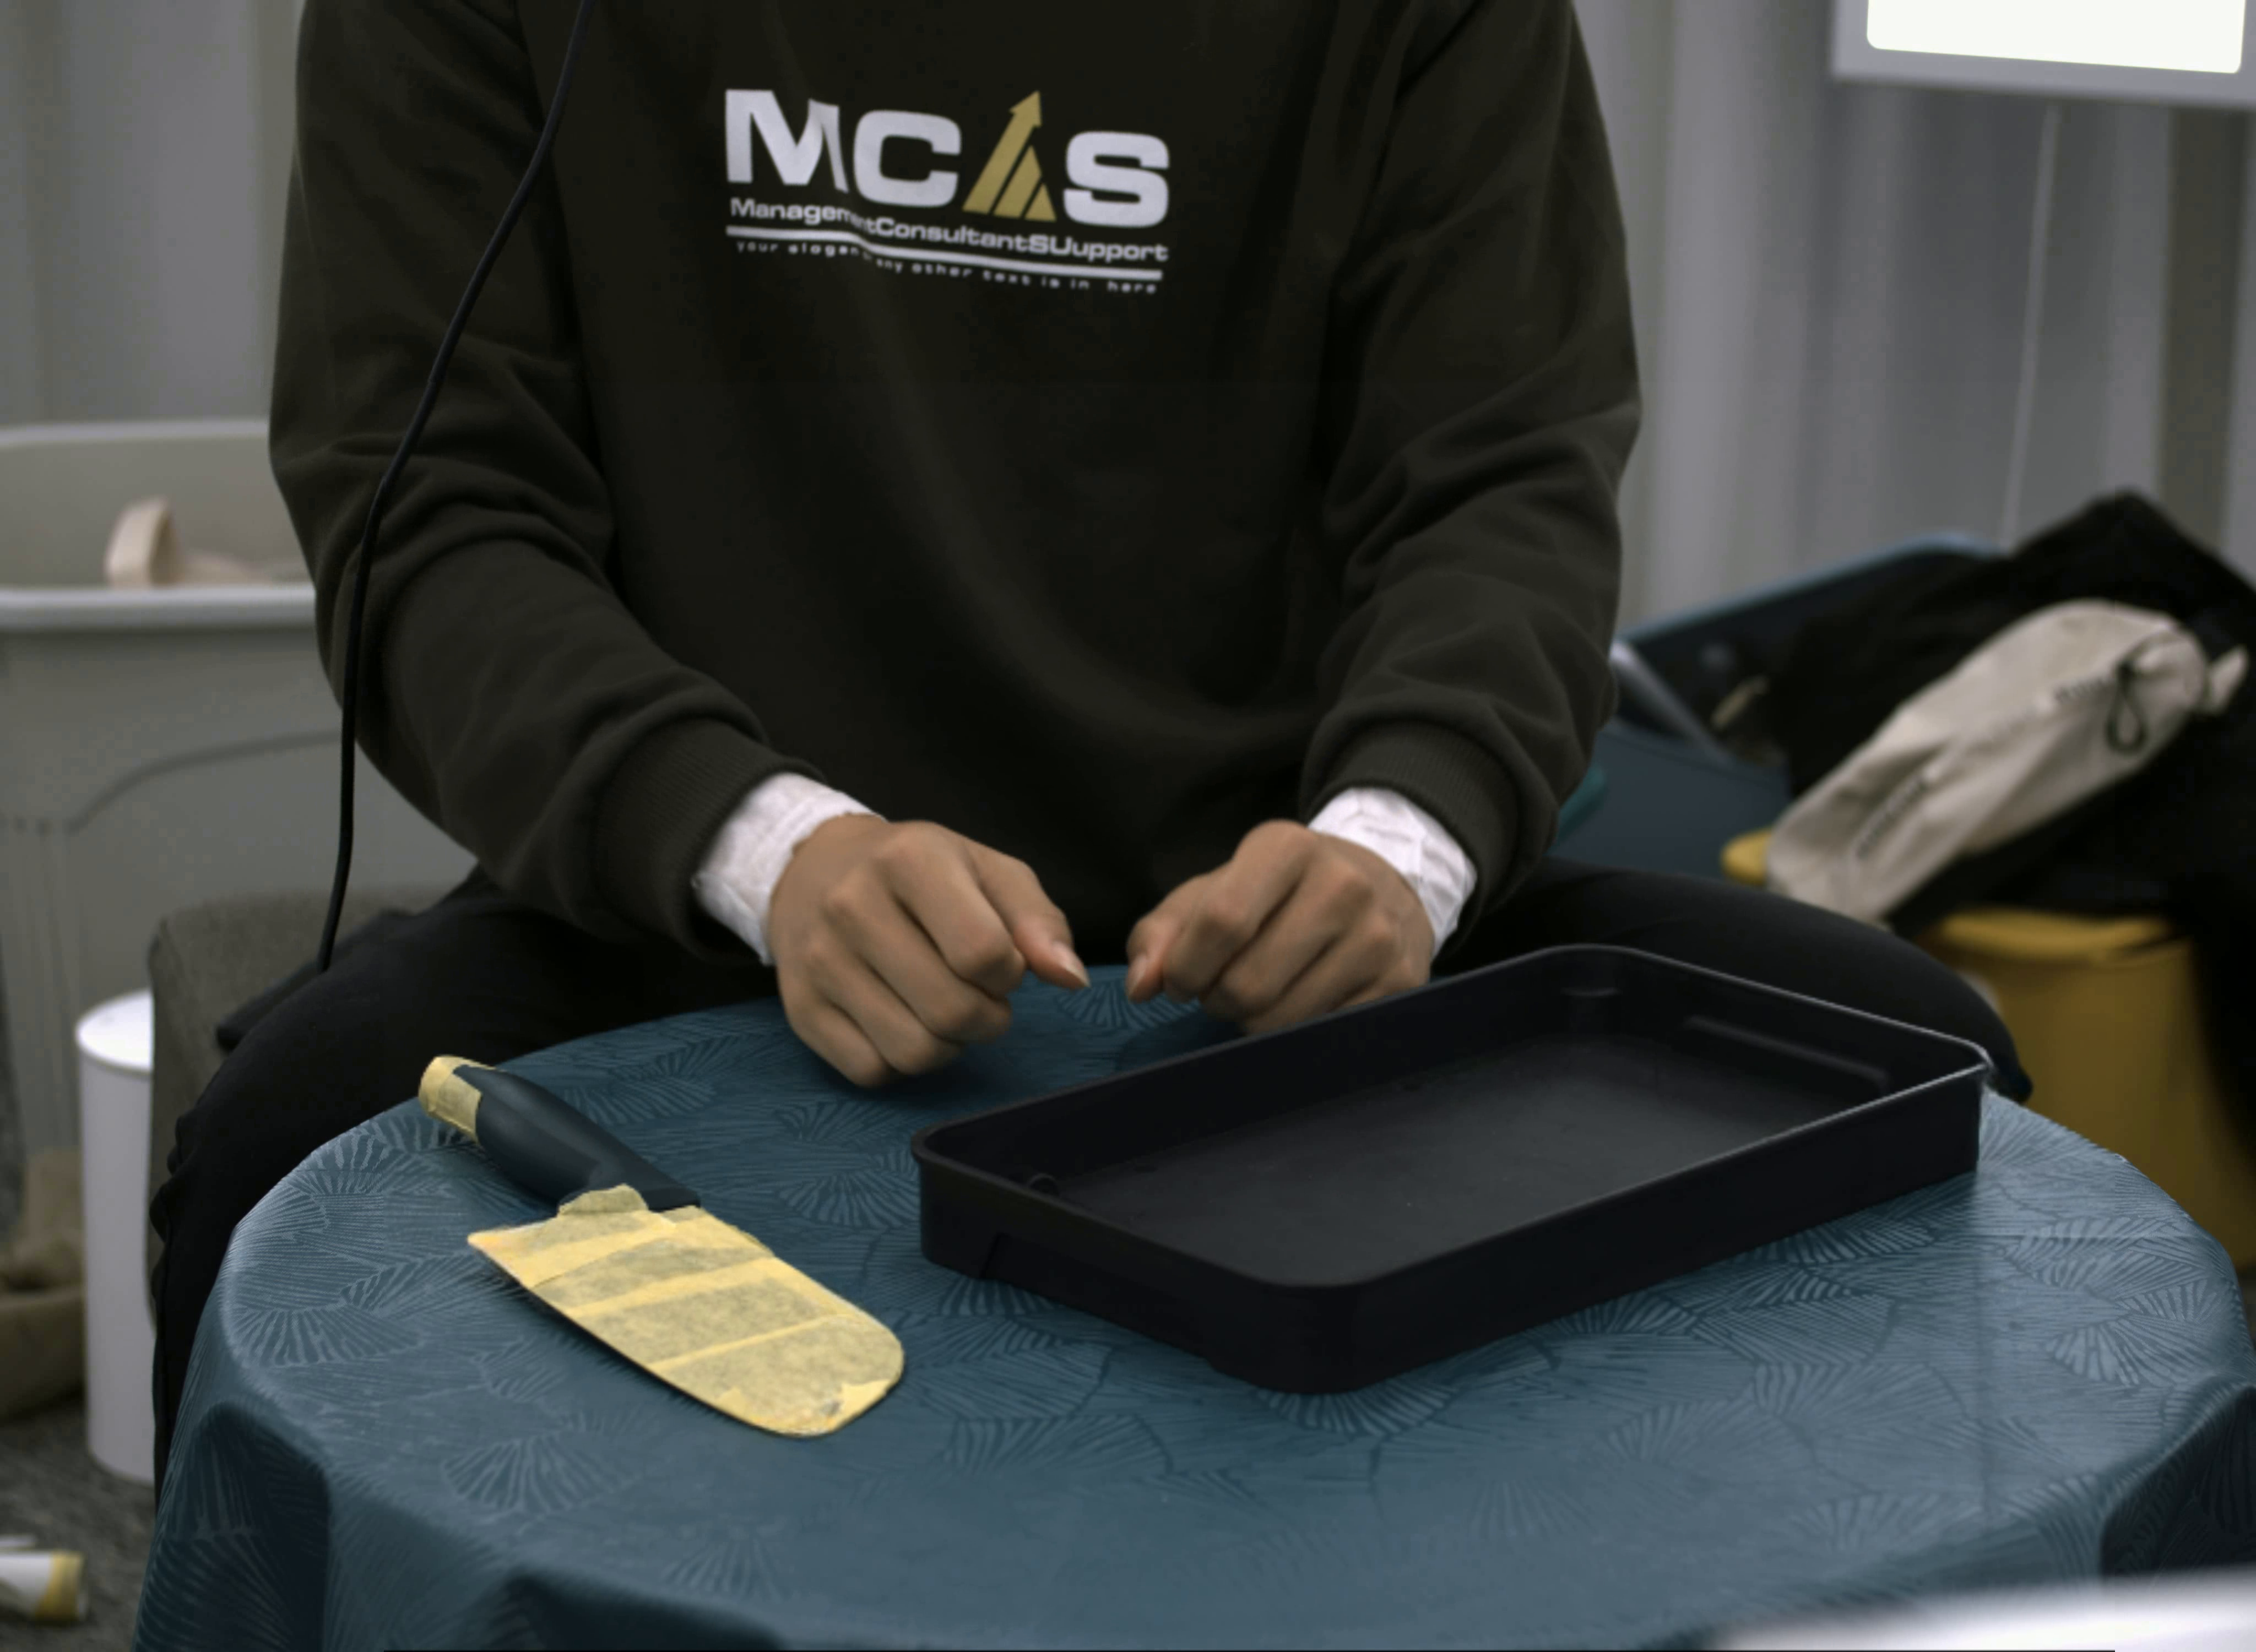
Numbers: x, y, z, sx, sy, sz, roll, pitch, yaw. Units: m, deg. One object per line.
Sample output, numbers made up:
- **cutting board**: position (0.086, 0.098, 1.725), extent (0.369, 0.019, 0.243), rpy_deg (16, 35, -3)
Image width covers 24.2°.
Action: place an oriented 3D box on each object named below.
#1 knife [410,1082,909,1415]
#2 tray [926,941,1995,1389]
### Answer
- **knife**: position (-0.151, 0.125, 1.548), extent (0.081, 0.027, 0.285), rpy_deg (-8, 18, -32)
- **tray**: position (0.106, 0.097, 1.615), extent (0.182, 0.037, 0.319), rpy_deg (14, 20, 43)
